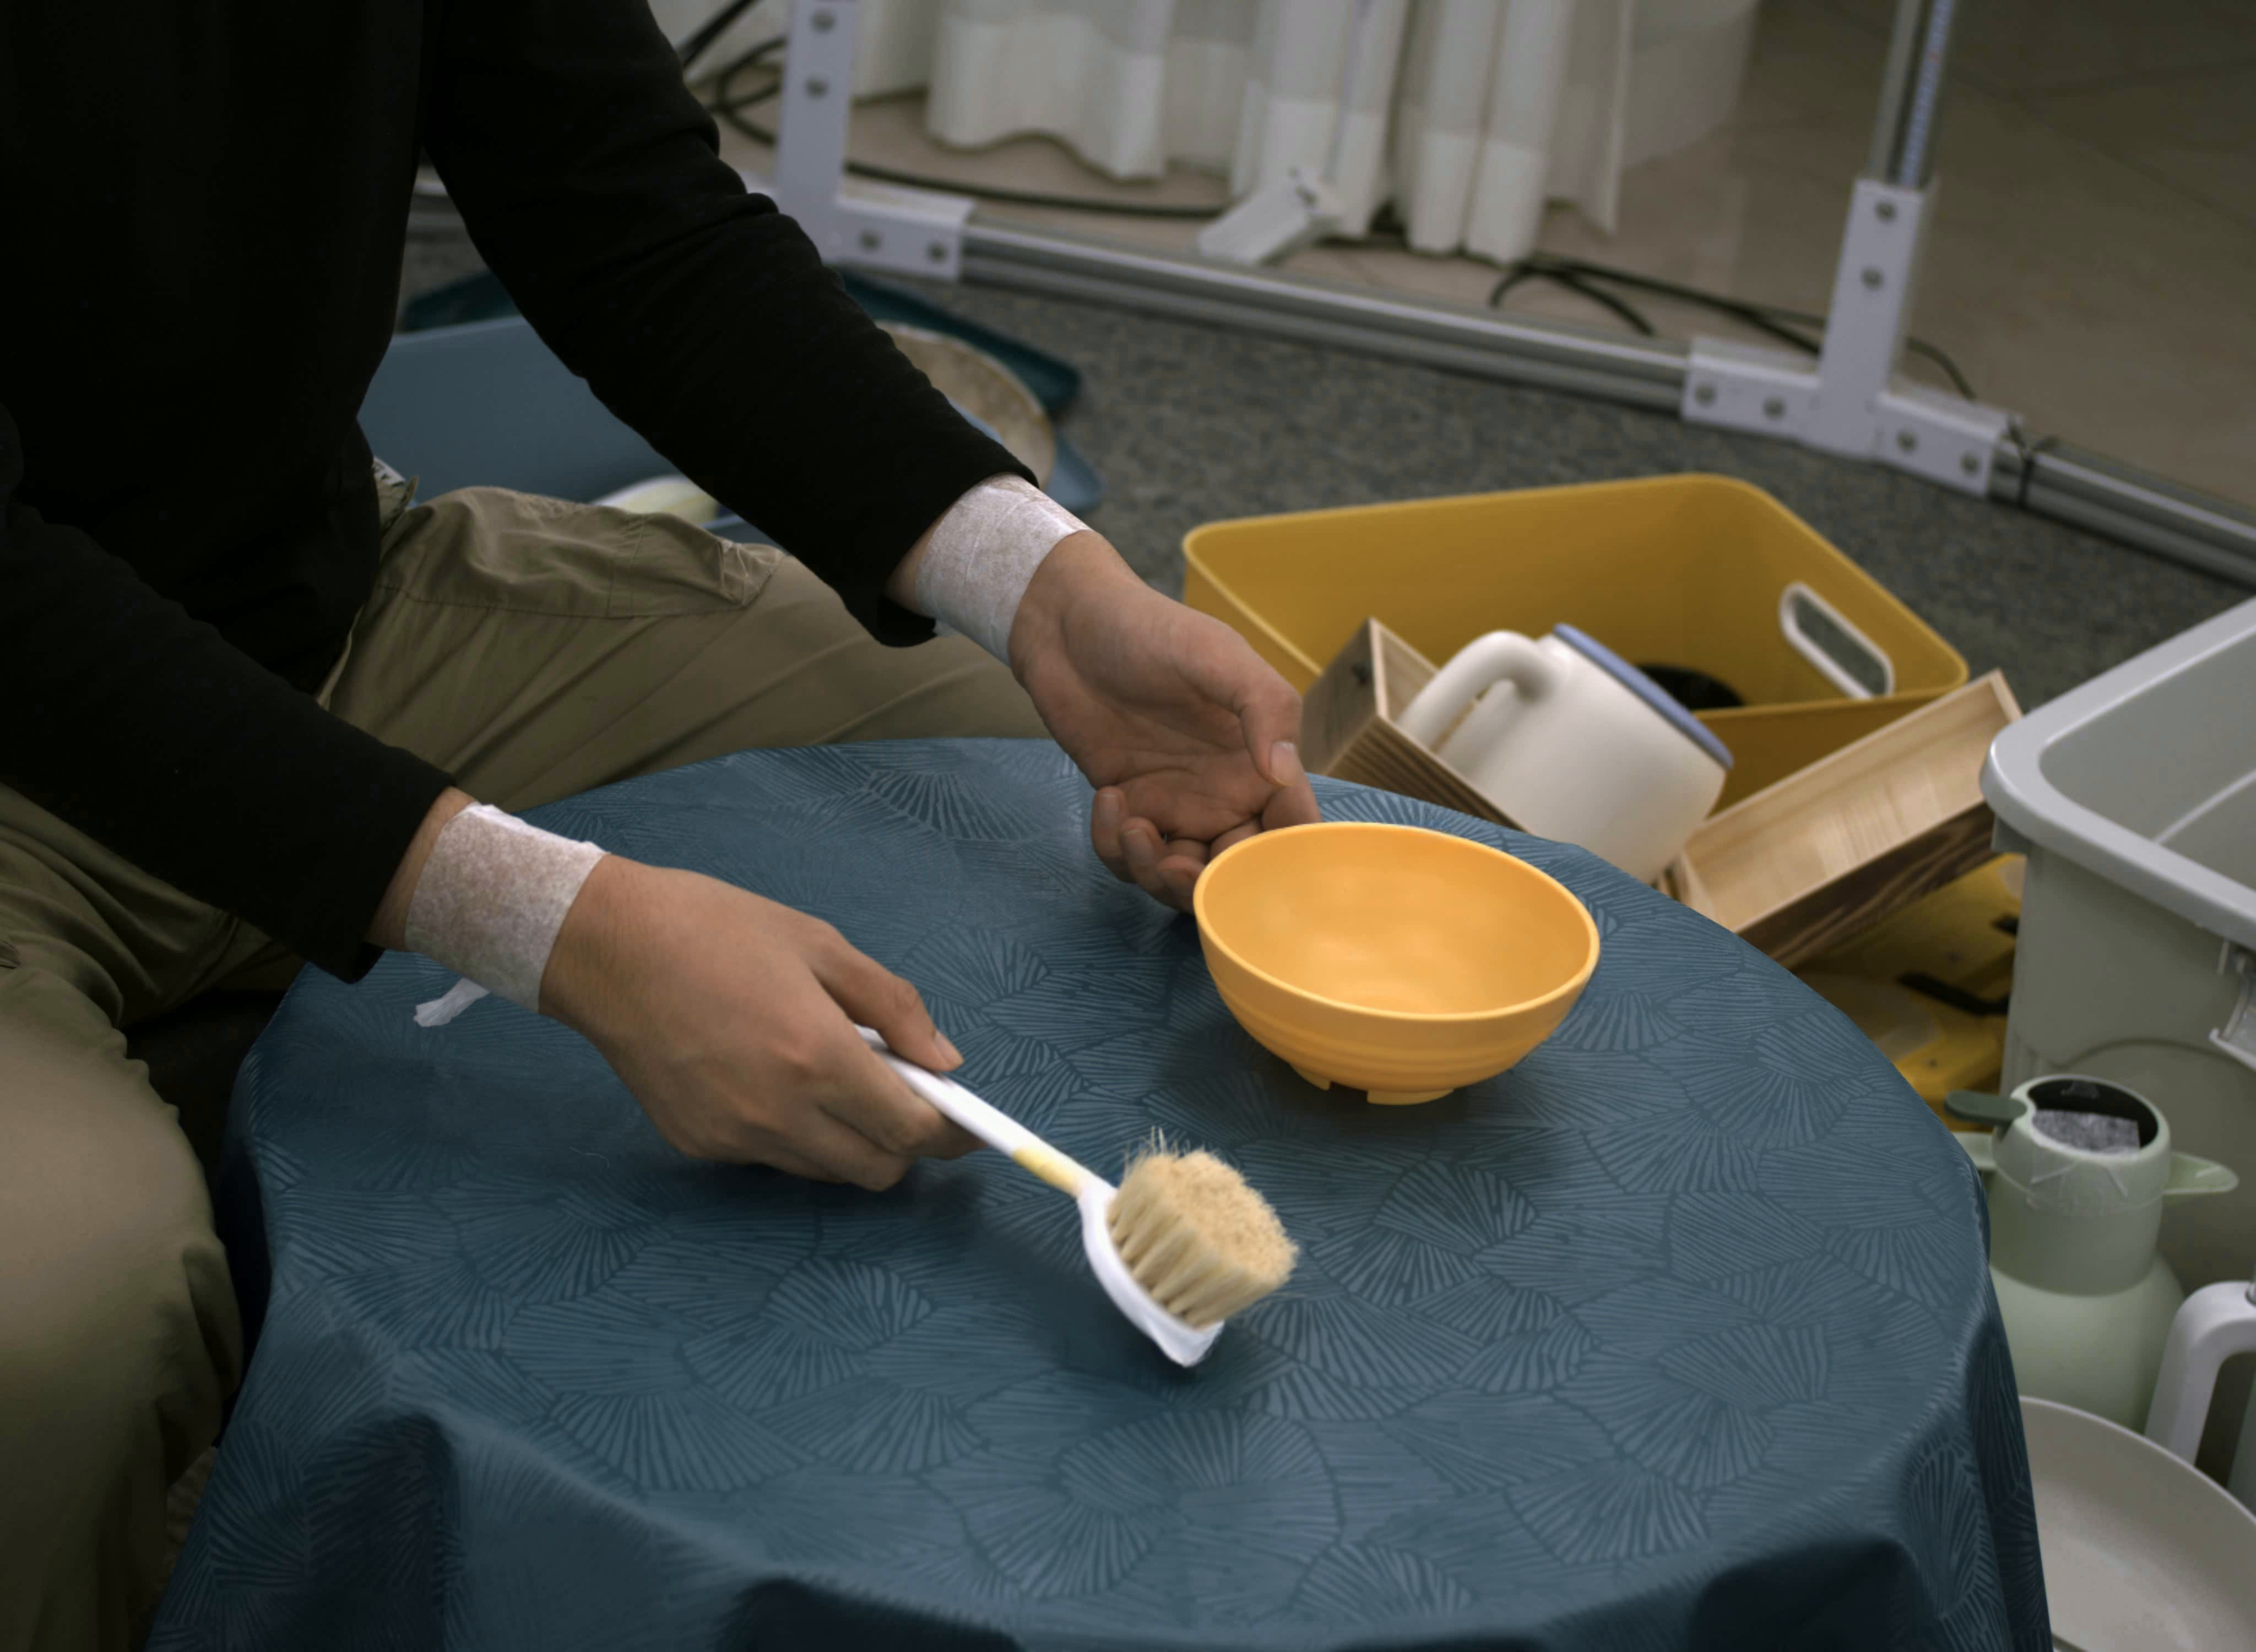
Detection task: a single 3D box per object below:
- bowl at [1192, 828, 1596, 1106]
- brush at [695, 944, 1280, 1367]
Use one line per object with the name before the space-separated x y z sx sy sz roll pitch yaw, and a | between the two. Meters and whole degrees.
bowl | 0.091 0.058 1.887 0.145 0.060 0.146 5 25 -3
brush | -0.050 0.087 1.763 0.269 0.056 0.068 37 7 38
